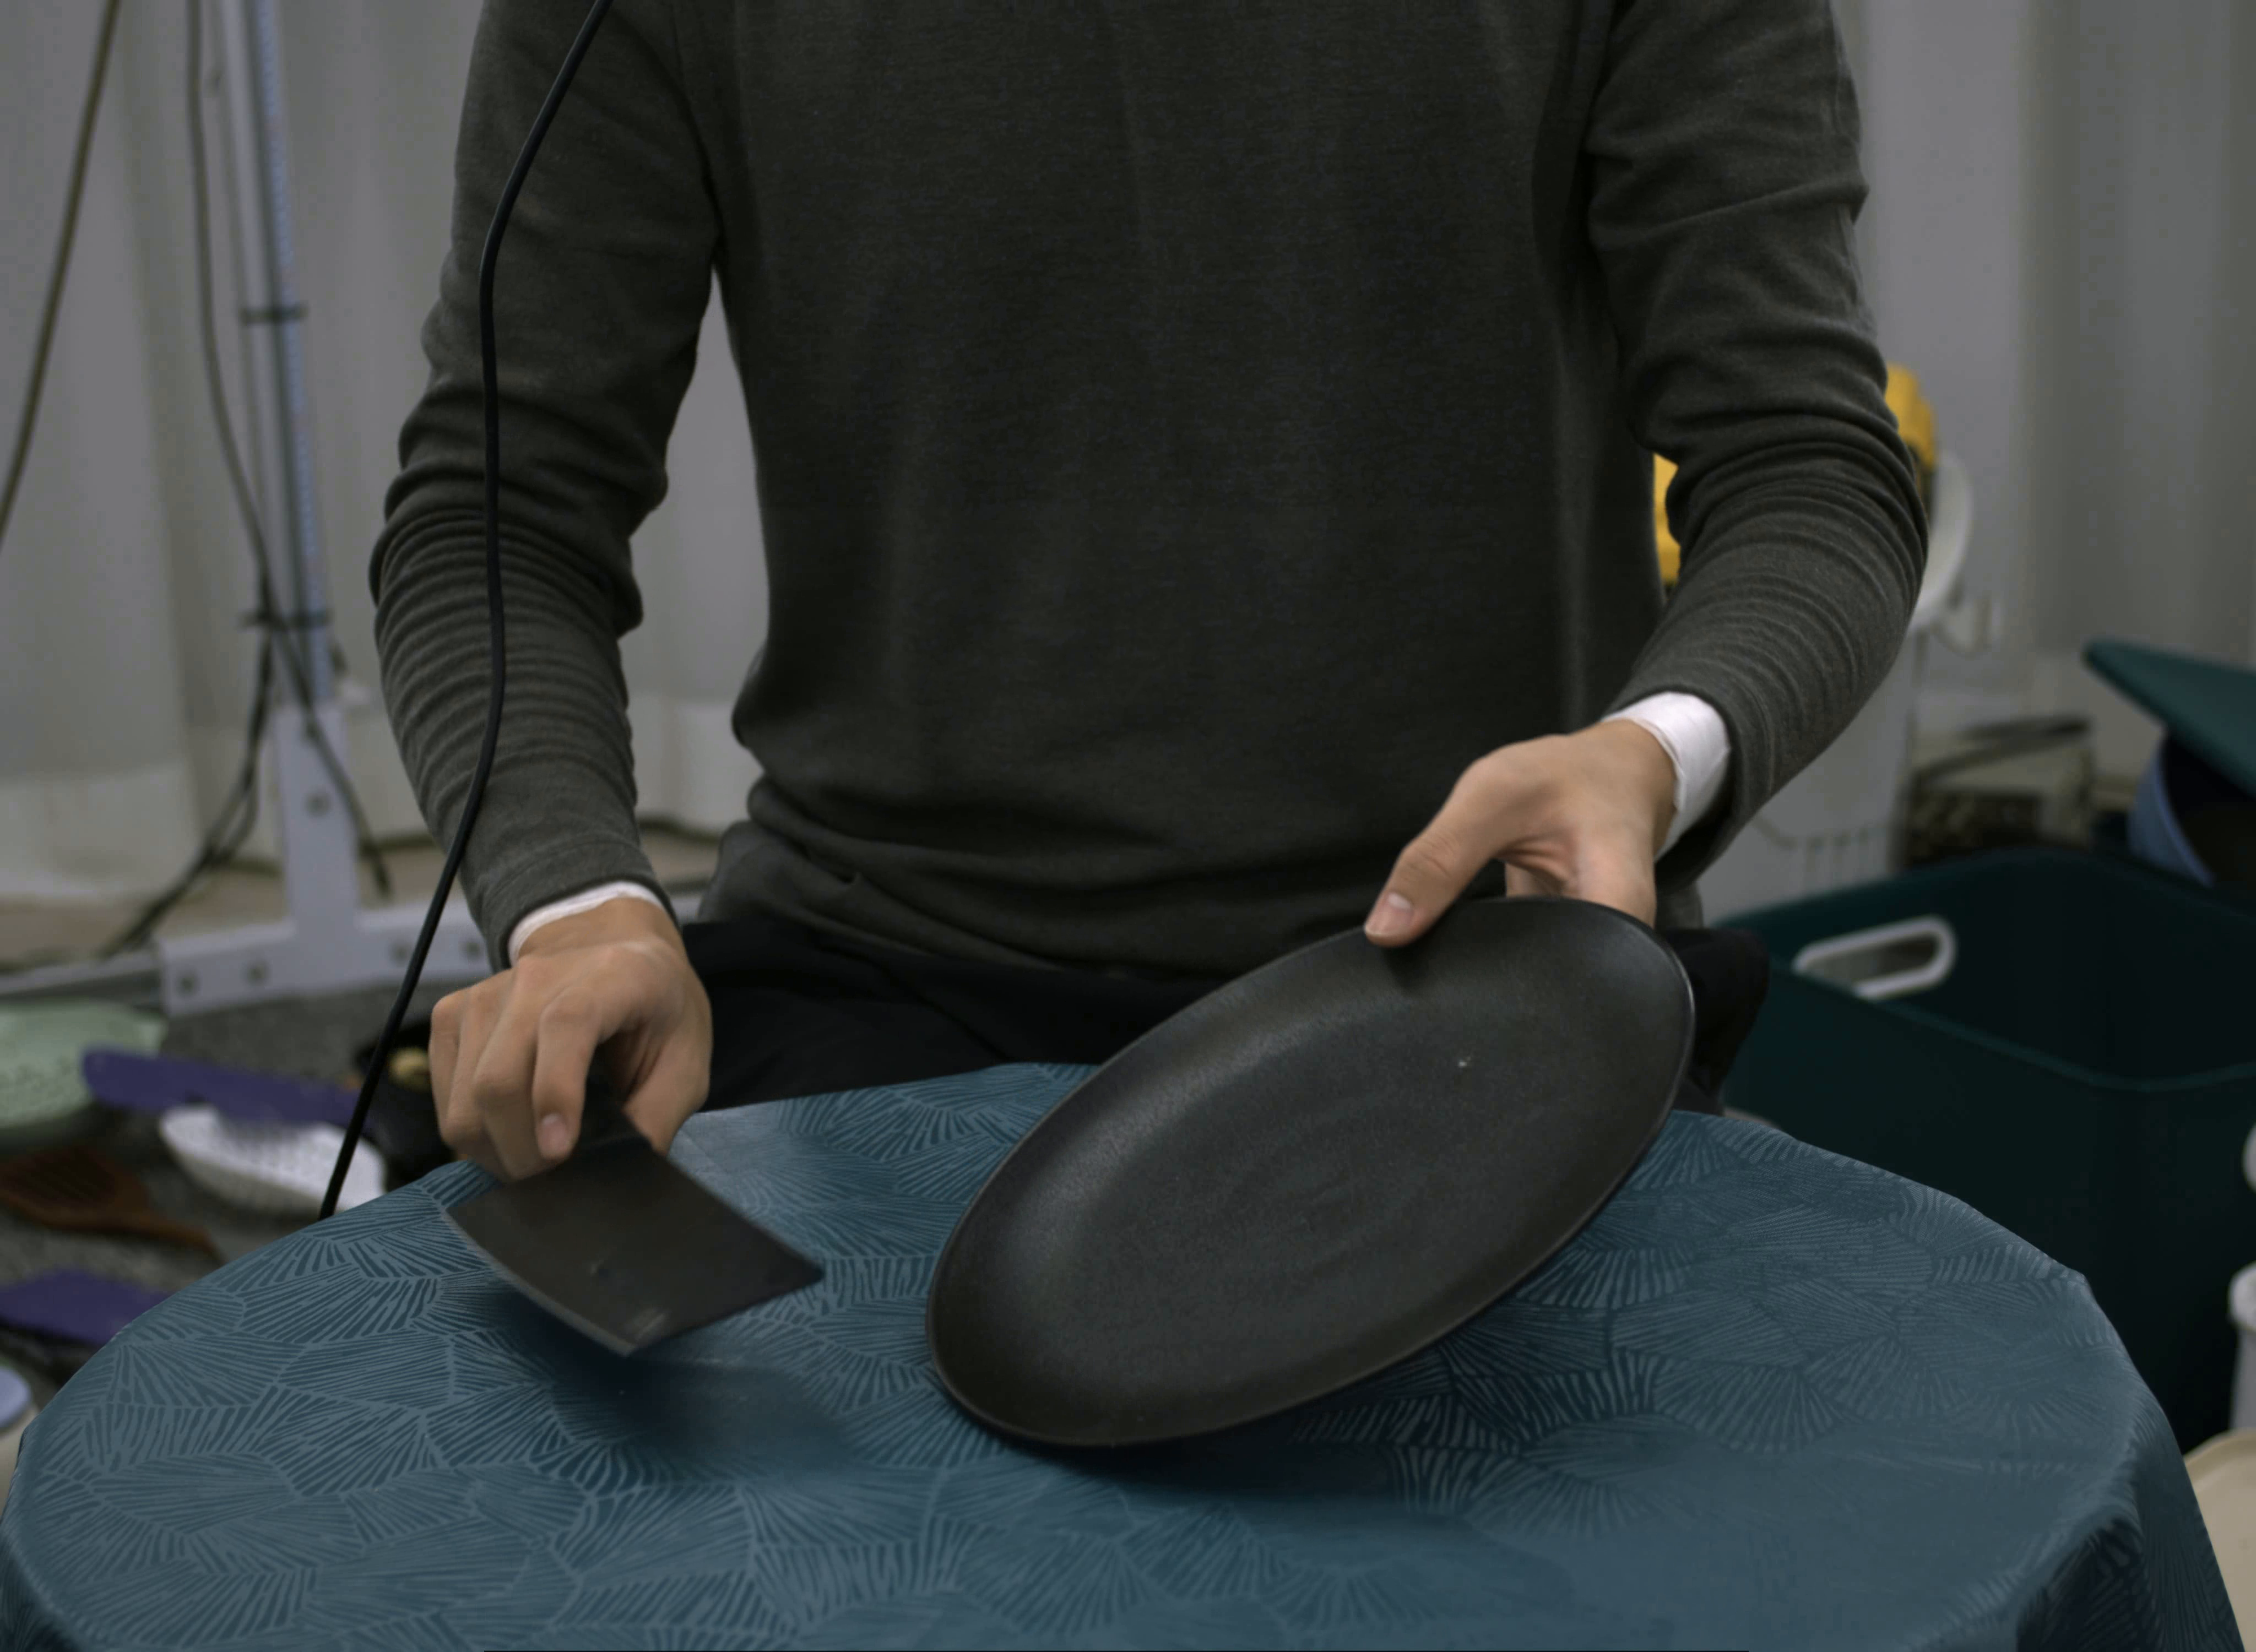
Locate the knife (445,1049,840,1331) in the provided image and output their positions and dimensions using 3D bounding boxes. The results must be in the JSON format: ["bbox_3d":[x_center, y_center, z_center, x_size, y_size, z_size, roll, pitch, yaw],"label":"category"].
[{"bbox_3d":[-0.162,0.108,1.645,0.081,0.021,0.304,-19,15,-15],"label":"knife"}]

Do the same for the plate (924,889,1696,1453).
[{"bbox_3d":[0.054,0.102,1.560,0.244,0.023,0.247,-24,26,12],"label":"plate"}]
